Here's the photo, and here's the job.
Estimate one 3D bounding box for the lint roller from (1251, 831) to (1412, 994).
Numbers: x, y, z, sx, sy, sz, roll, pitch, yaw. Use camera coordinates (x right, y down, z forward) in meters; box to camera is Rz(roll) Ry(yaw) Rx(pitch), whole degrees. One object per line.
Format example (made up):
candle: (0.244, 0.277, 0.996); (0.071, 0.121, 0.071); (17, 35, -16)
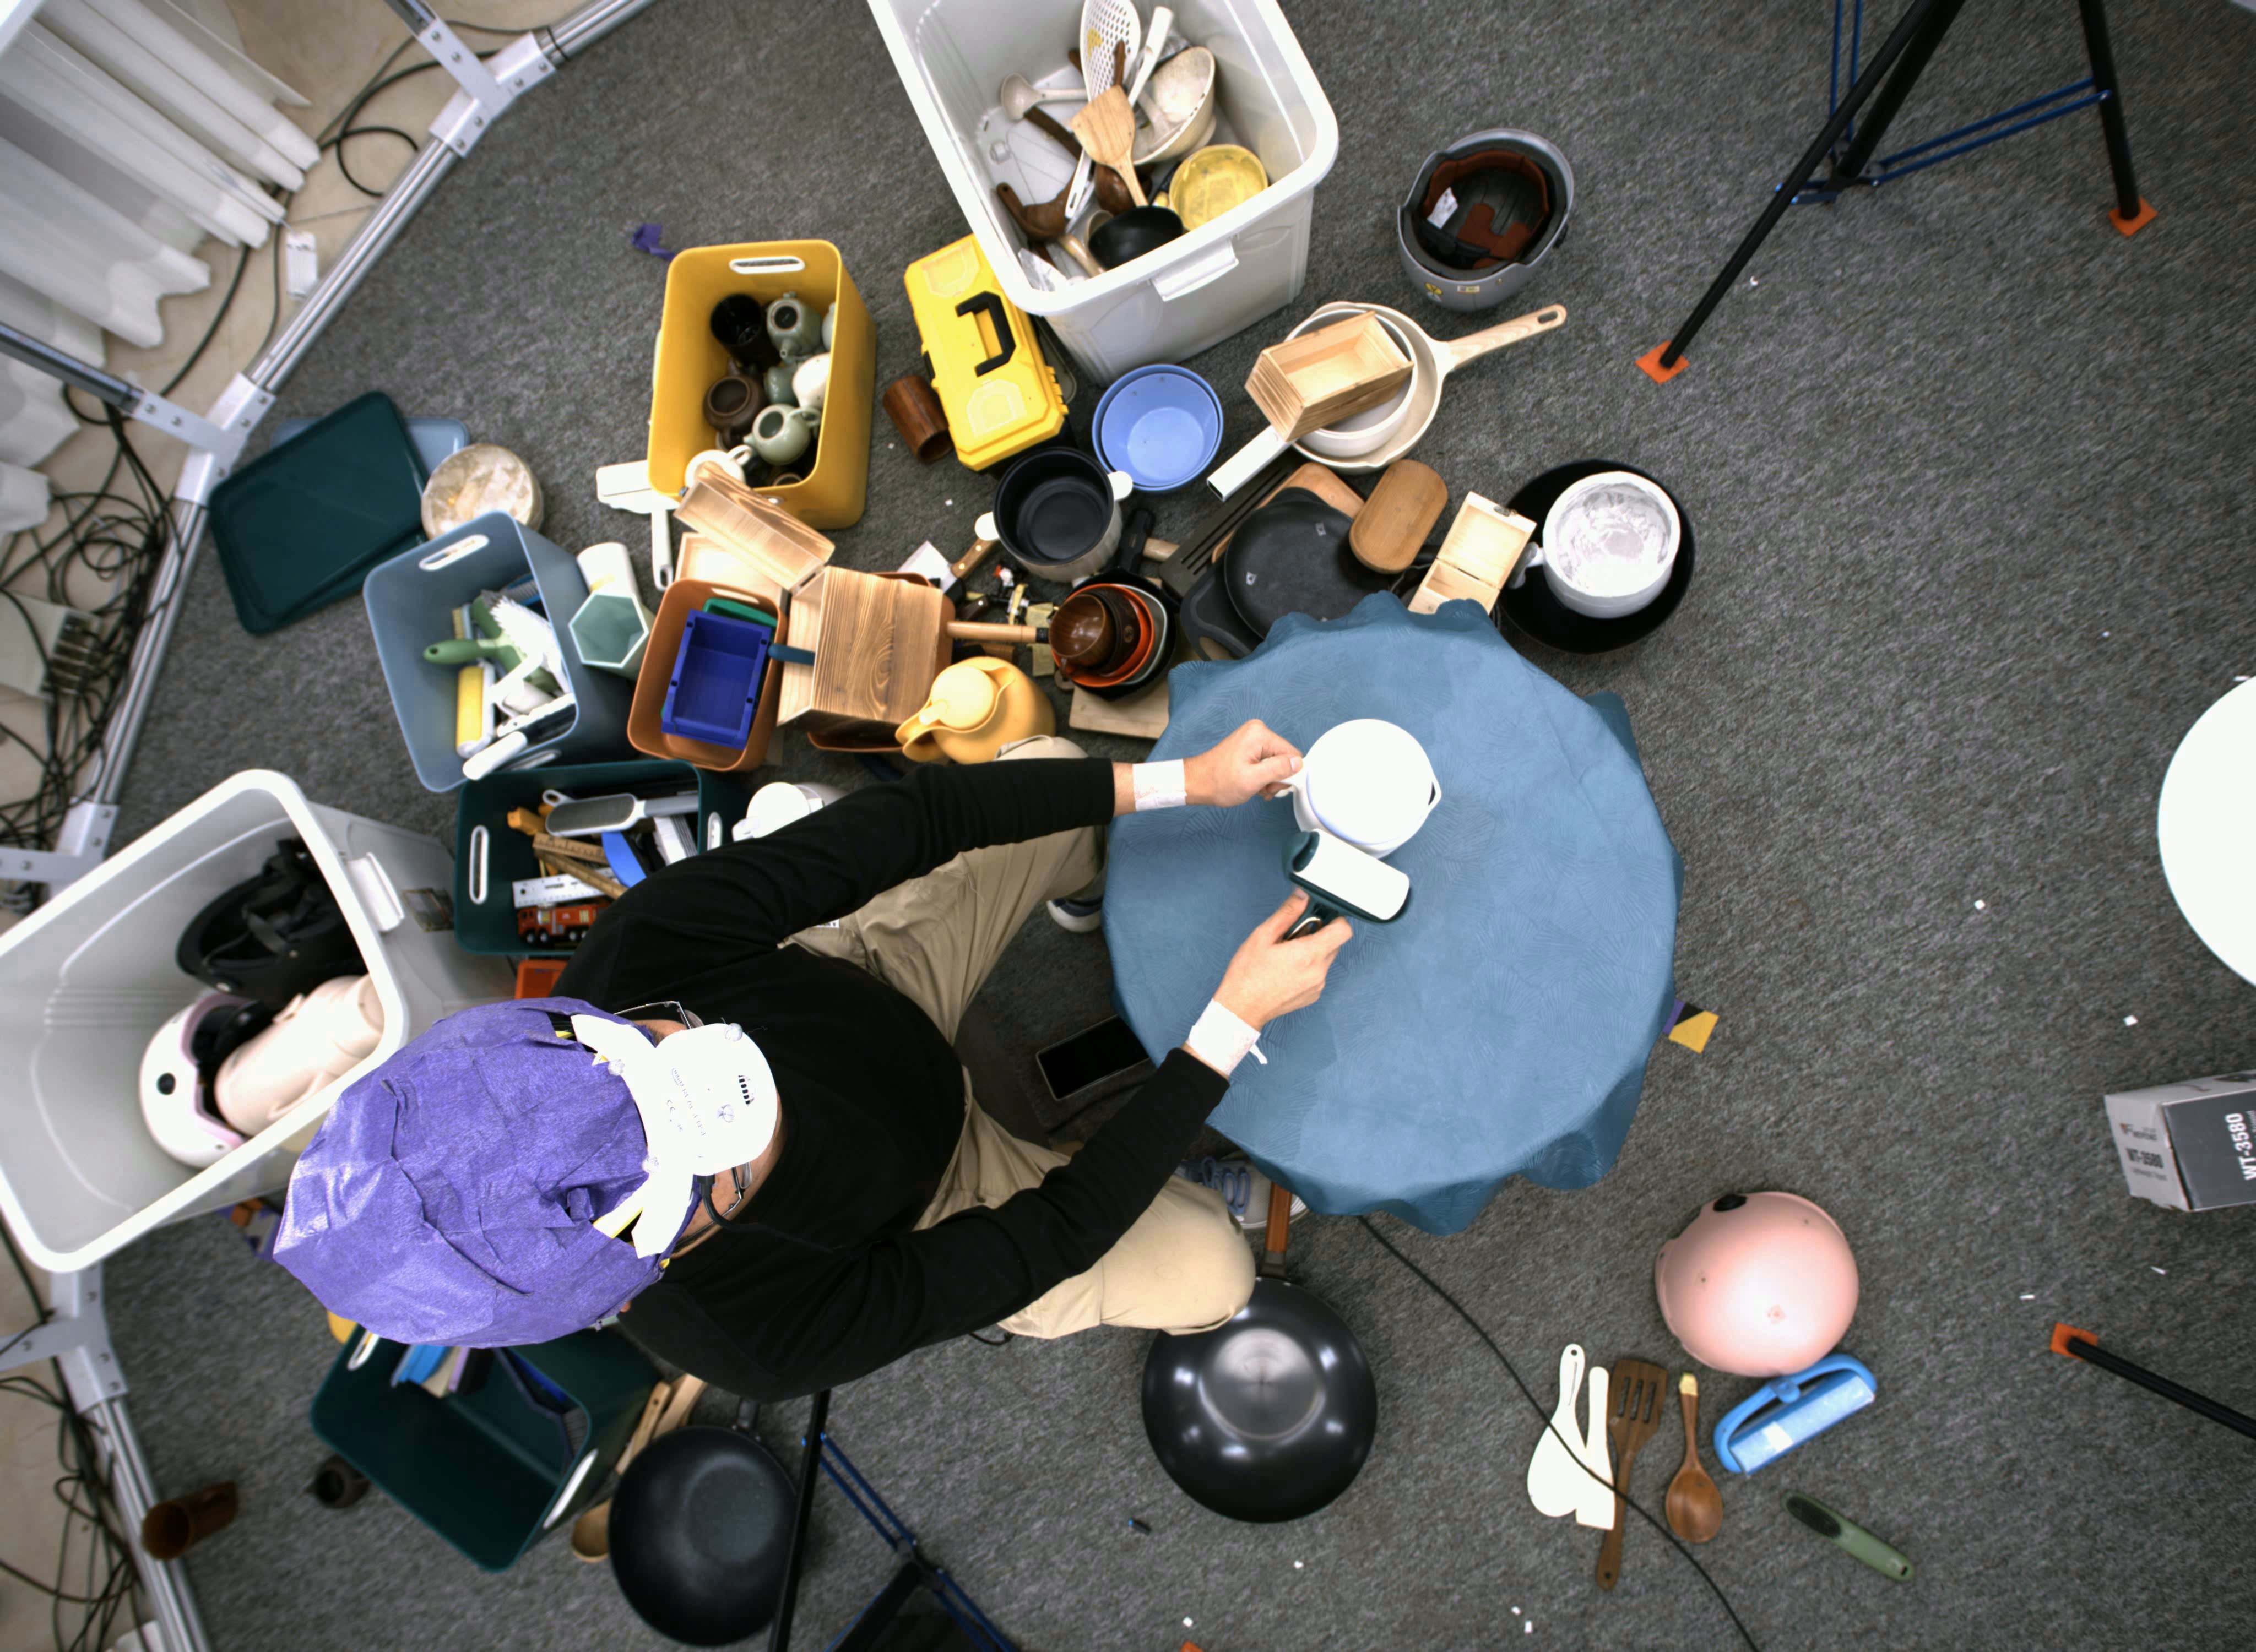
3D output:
lint roller: (0.172, 0.099, 1.313); (0.135, 0.047, 0.183); (26, 112, -15)

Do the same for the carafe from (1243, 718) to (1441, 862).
carafe: (0.210, -0.038, 1.384); (0.191, 0.183, 0.131); (9, 85, 8)
